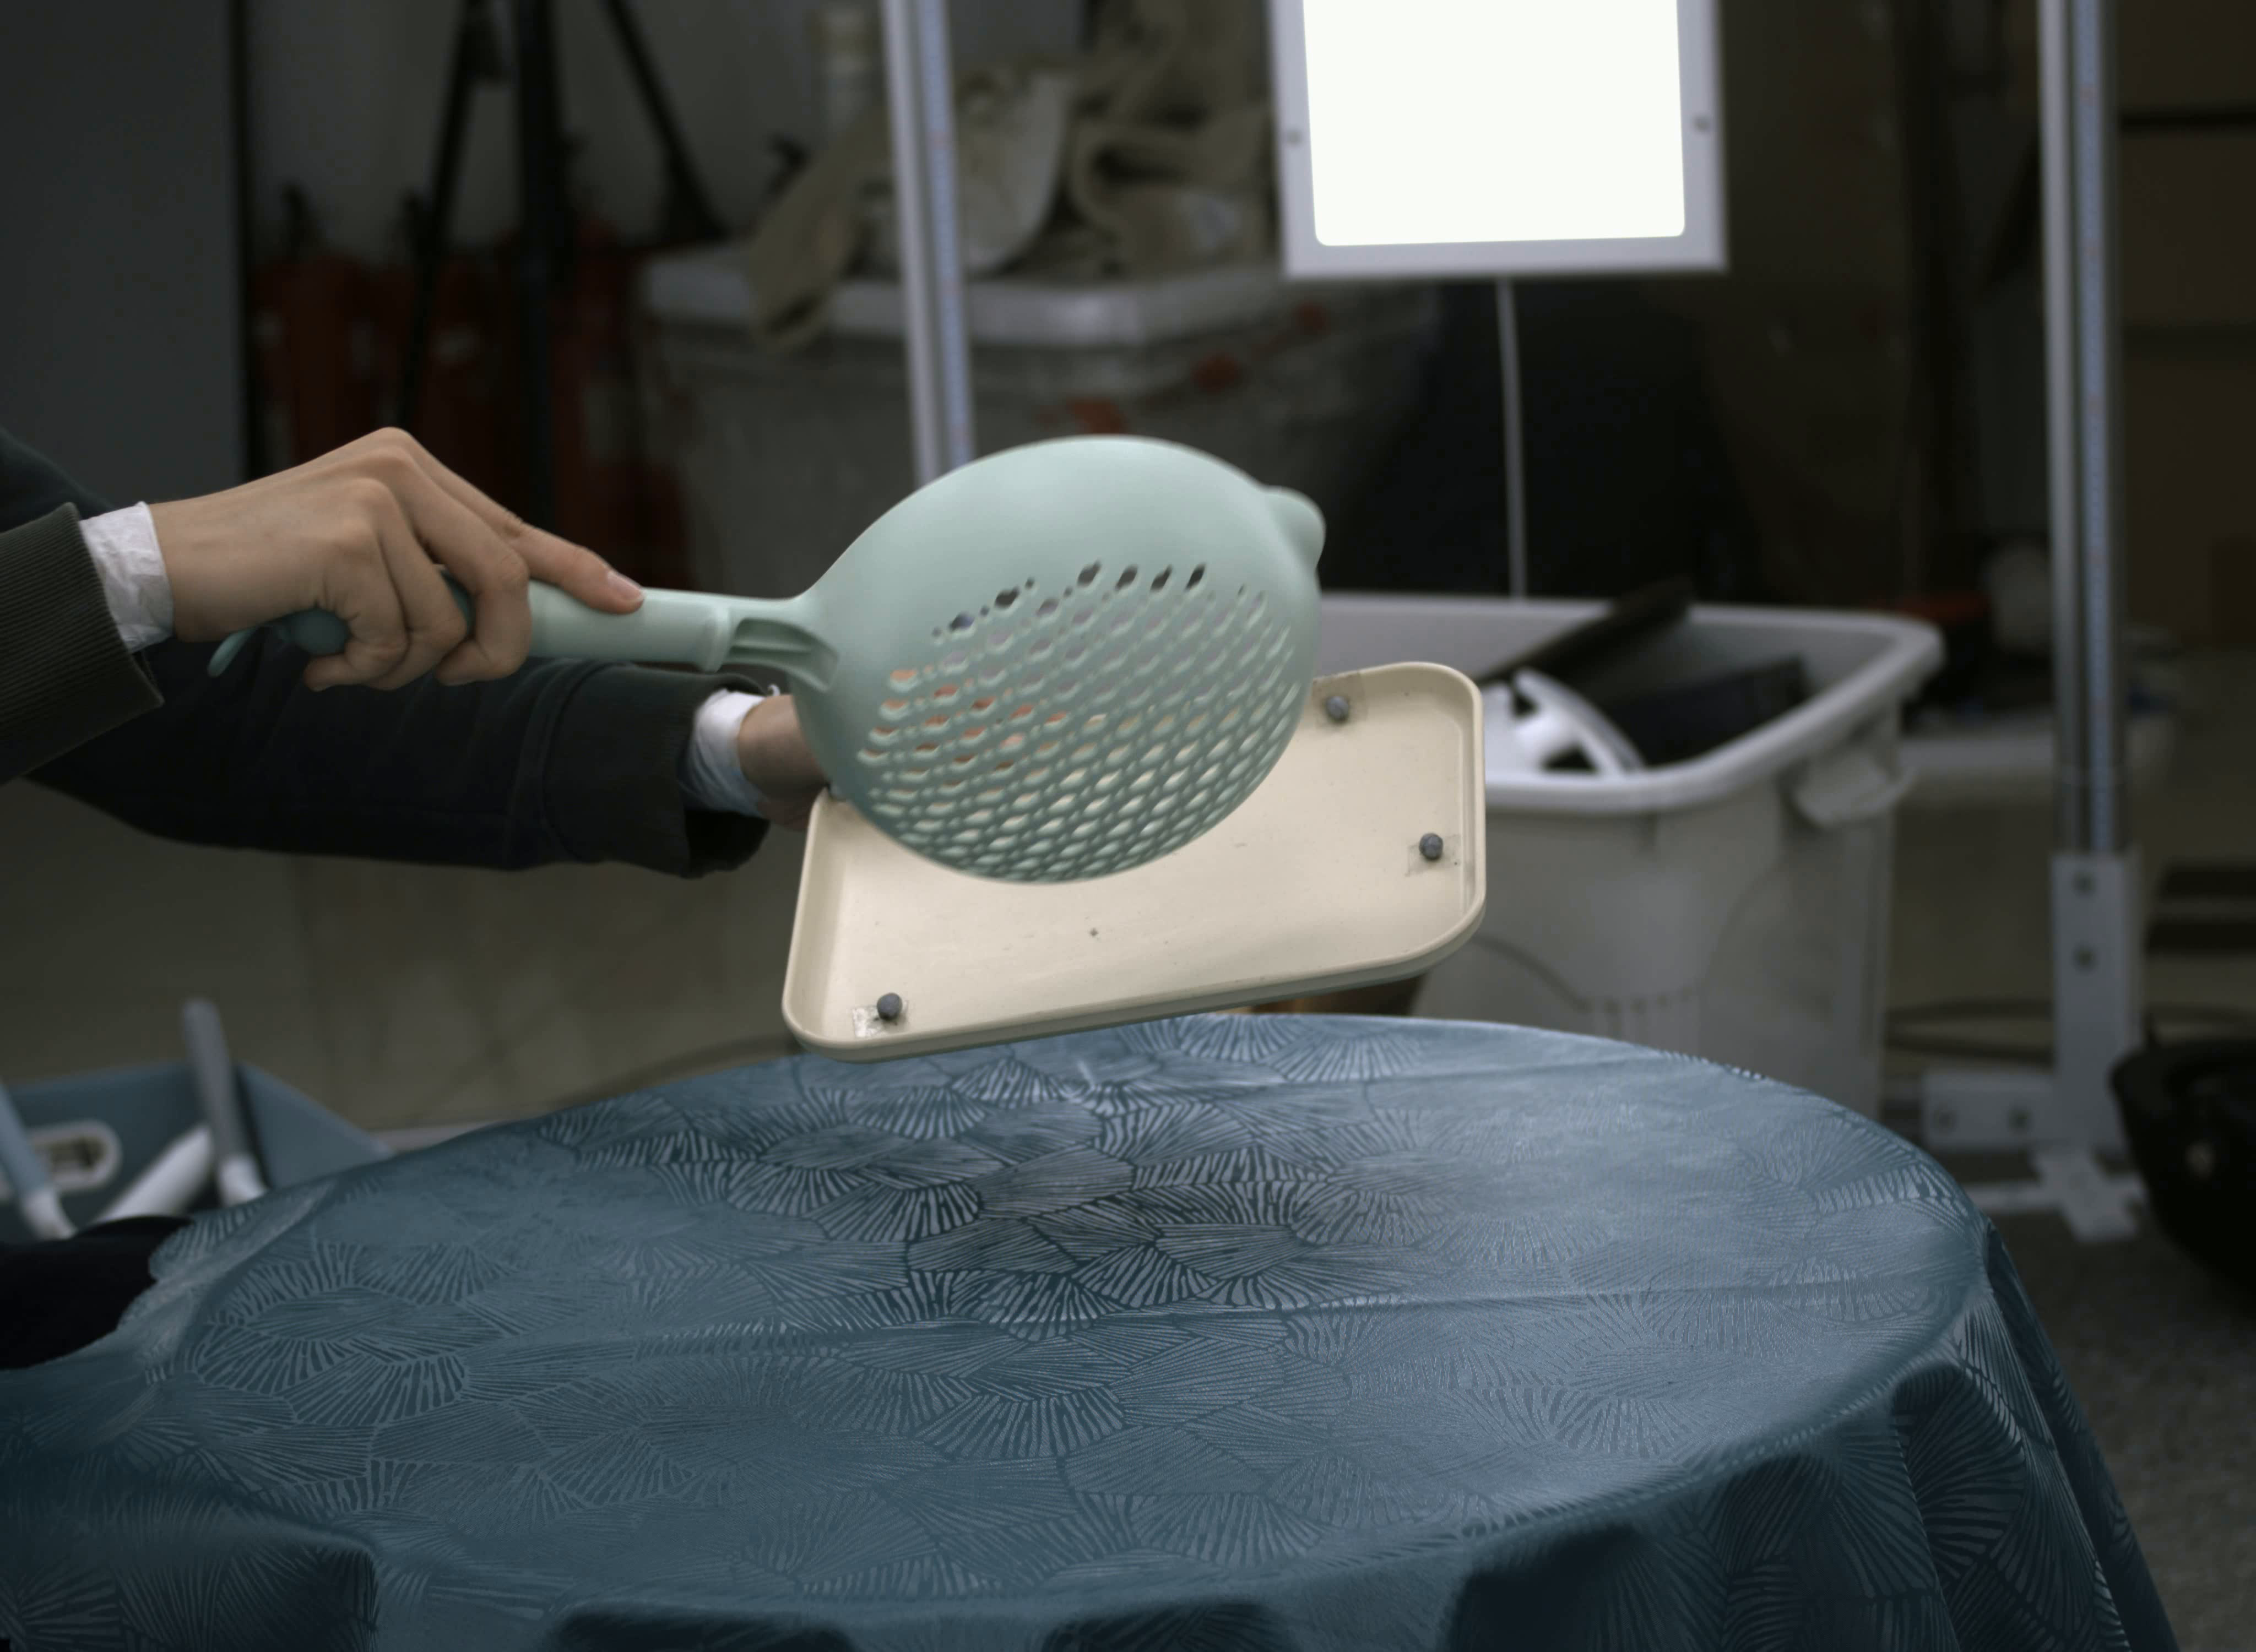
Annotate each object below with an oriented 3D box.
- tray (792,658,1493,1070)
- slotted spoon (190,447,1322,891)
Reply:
[{"bbox_3d":[0.007,0.014,1.854,0.241,0.017,0.170,-11,34,12],"label":"tray"},{"bbox_3d":[-0.109,-0.053,1.693,0.354,0.171,0.075,10,38,-14],"label":"slotted spoon"}]
